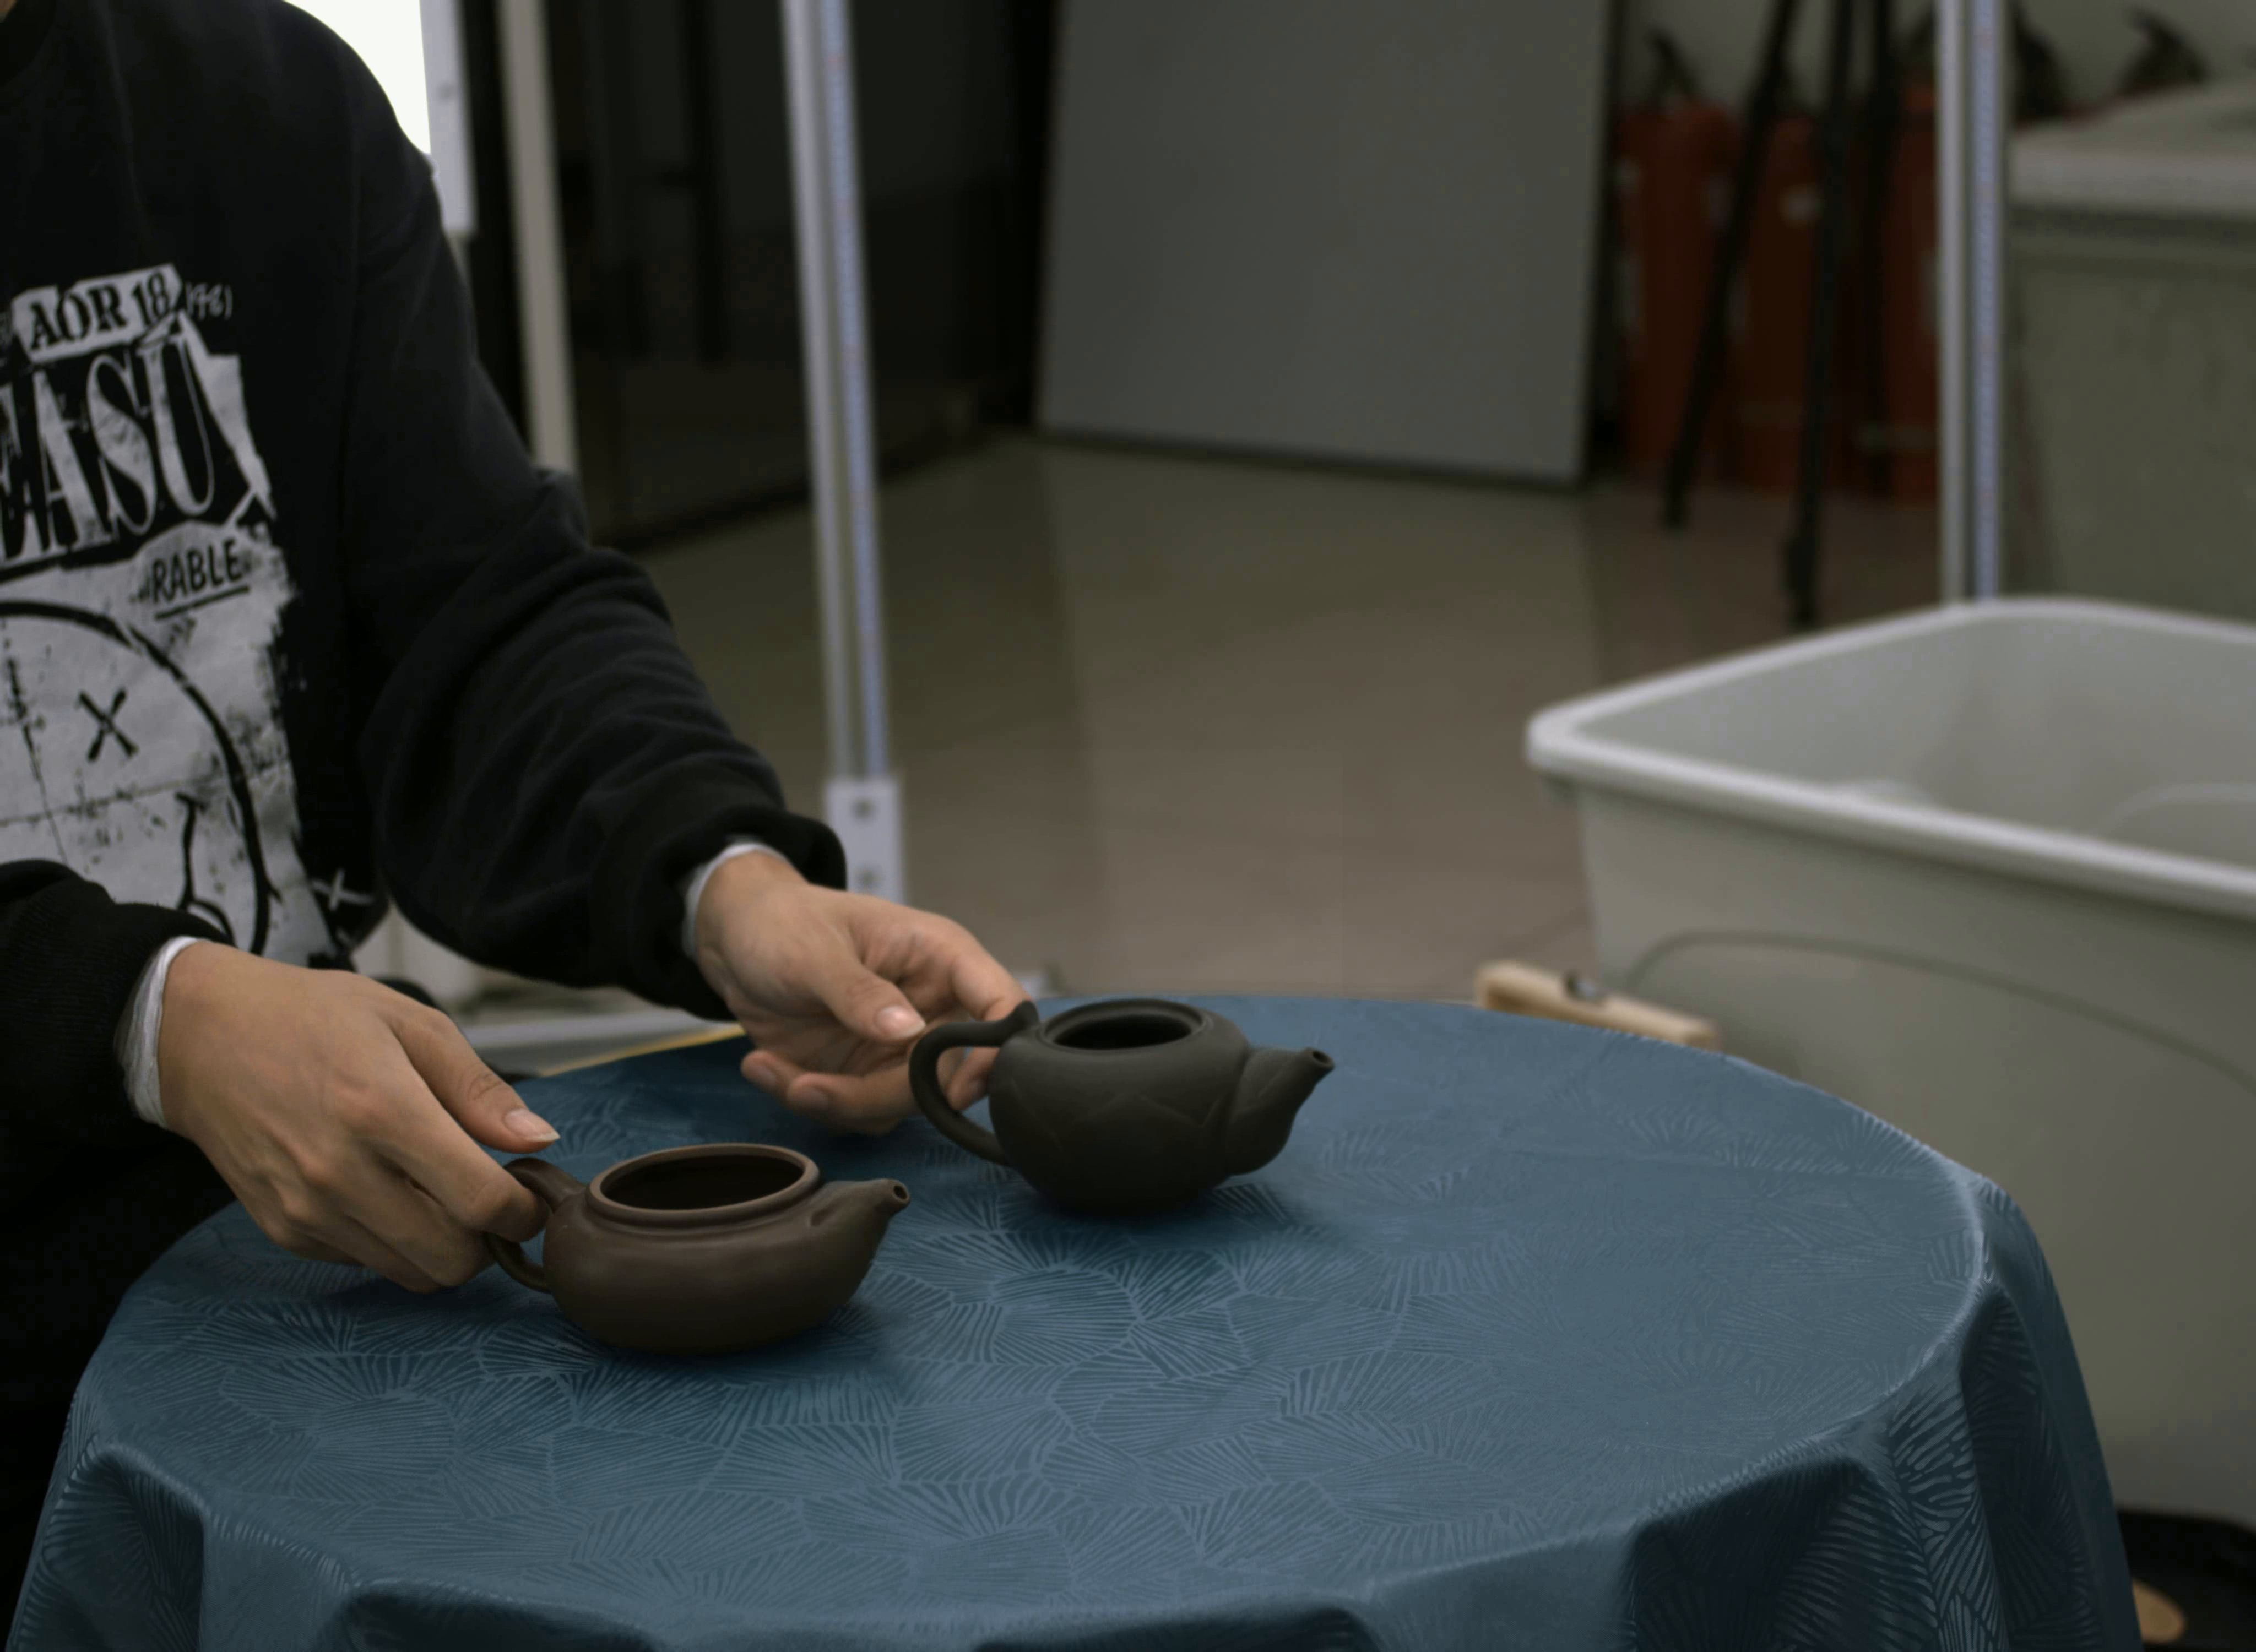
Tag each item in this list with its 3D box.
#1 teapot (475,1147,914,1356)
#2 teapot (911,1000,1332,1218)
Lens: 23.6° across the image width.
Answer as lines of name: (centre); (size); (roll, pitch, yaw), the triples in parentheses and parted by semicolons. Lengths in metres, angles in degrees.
teapot: (-0.134, 0.129, 1.669); (0.153, 0.054, 0.101); (2, 13, 22)
teapot: (-0.003, 0.090, 1.766); (0.154, 0.065, 0.091); (3, 14, 27)
